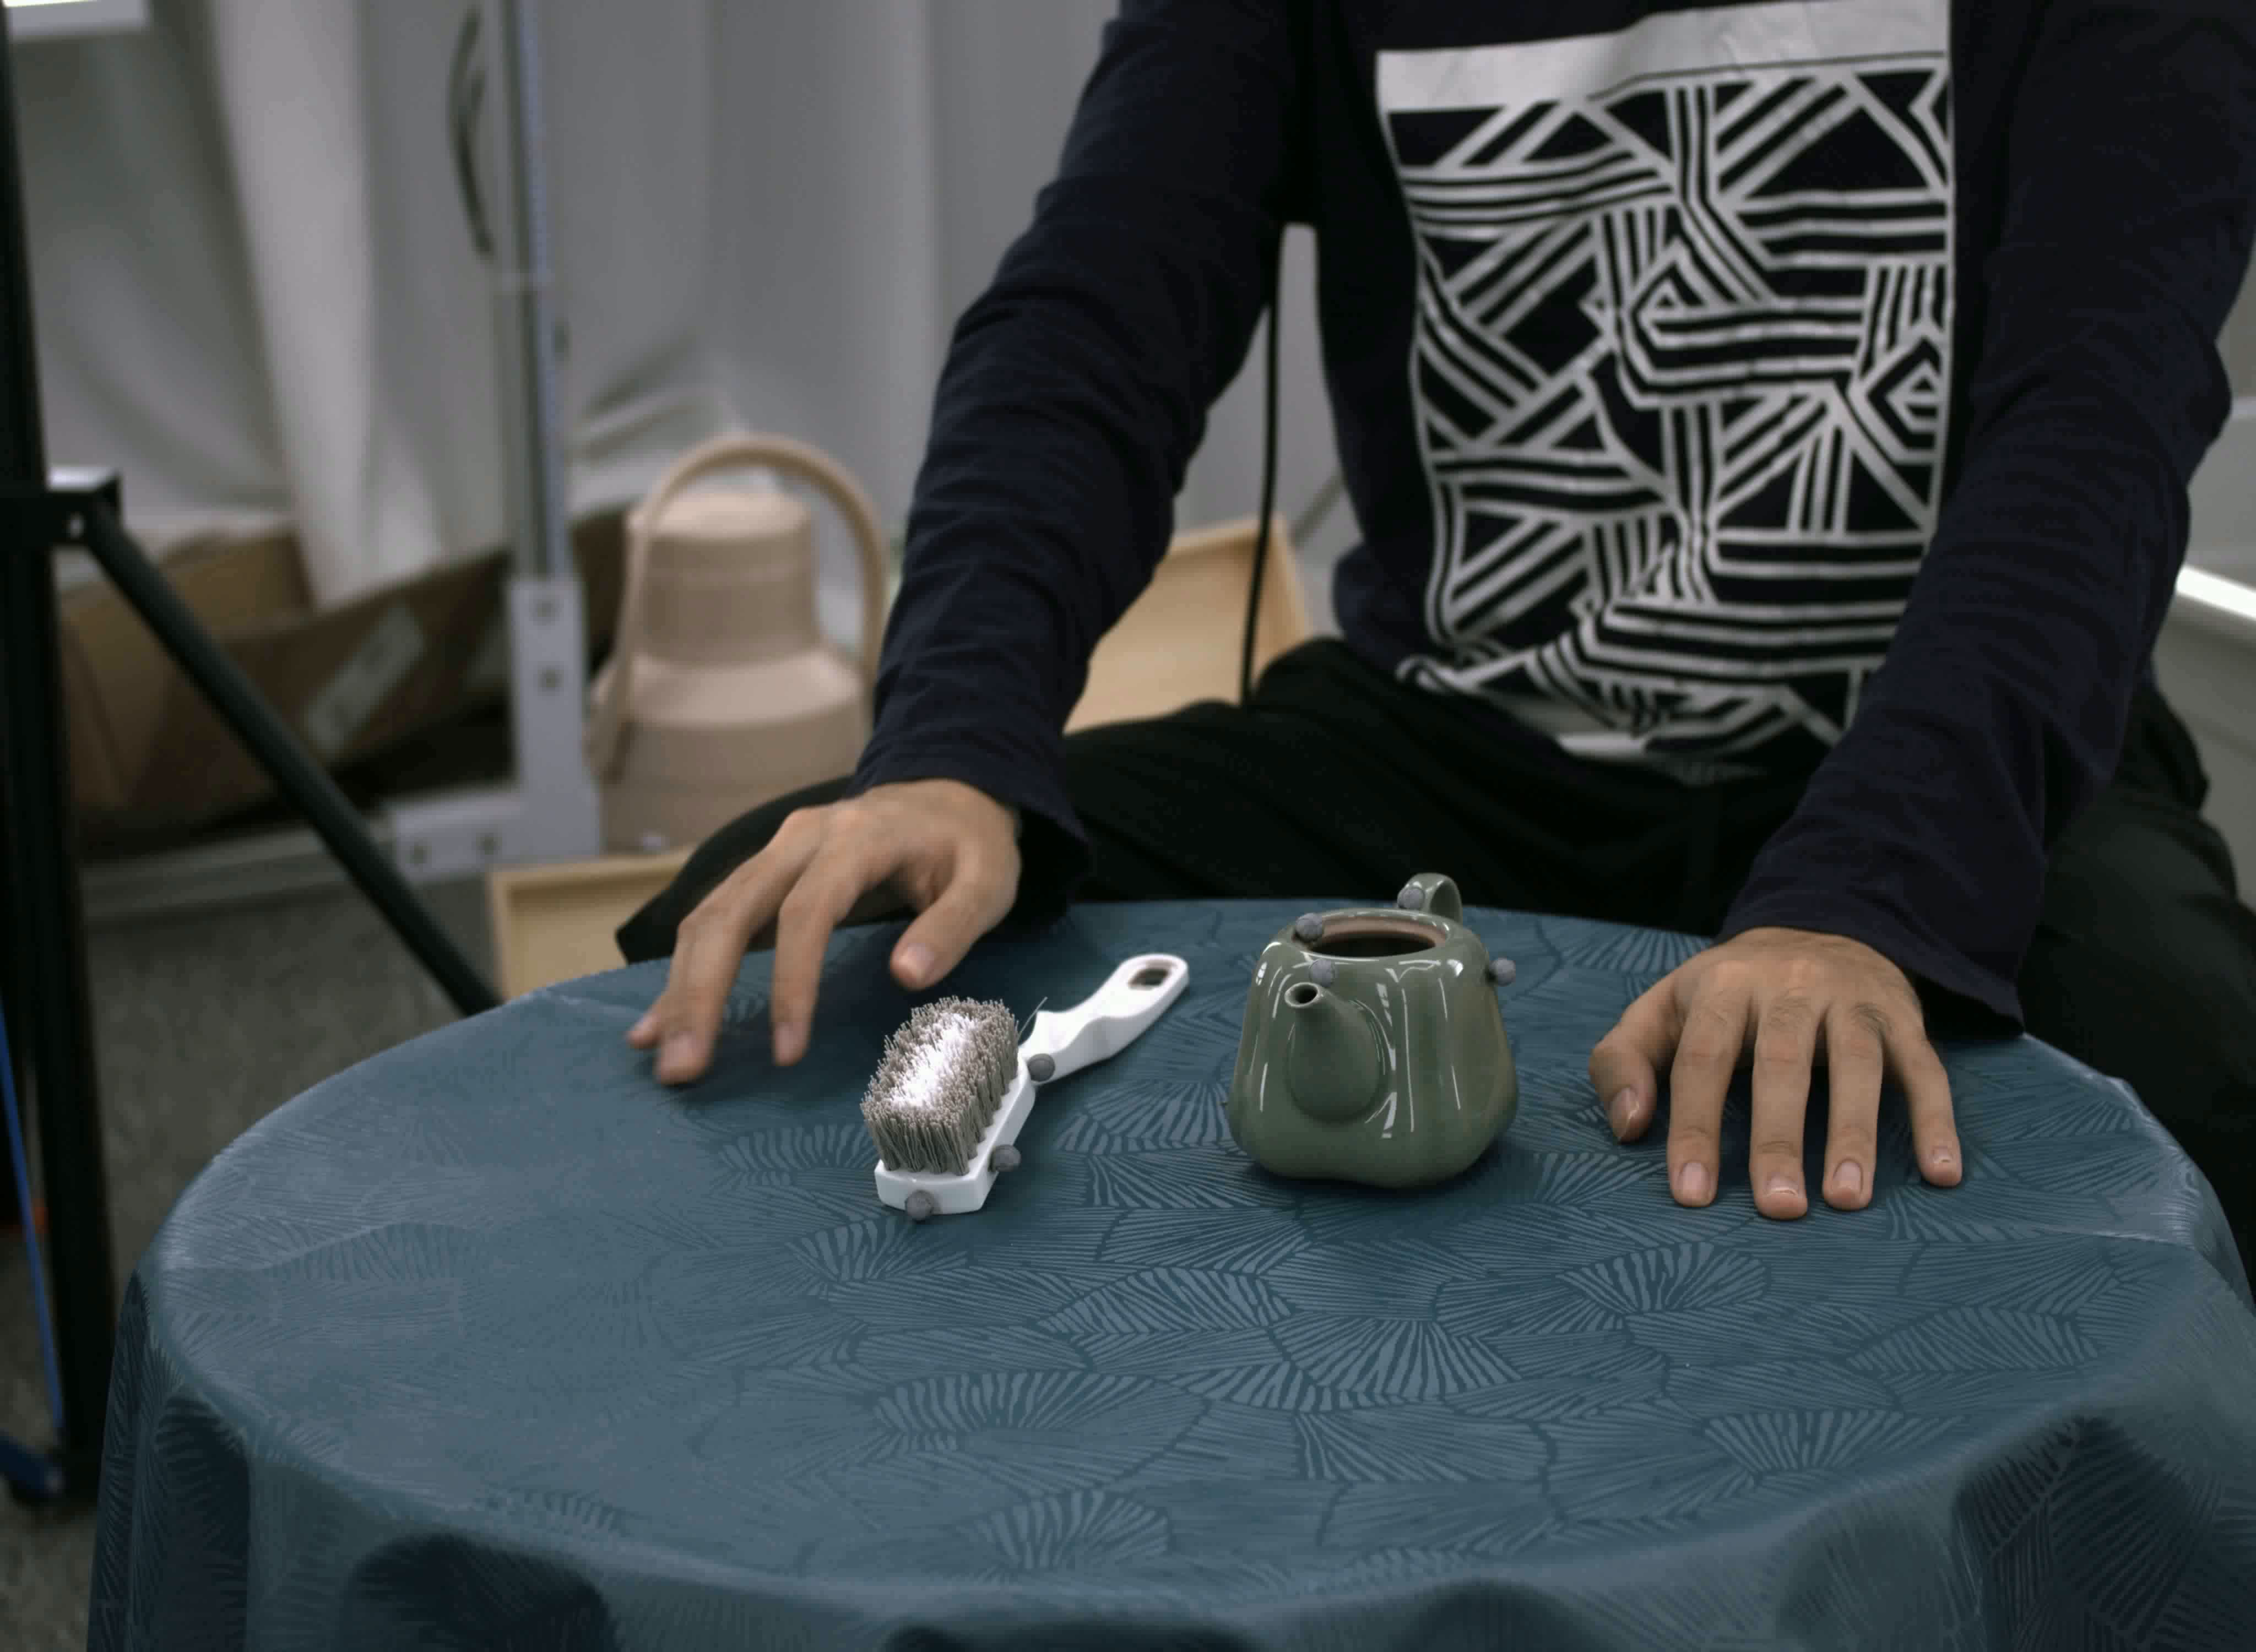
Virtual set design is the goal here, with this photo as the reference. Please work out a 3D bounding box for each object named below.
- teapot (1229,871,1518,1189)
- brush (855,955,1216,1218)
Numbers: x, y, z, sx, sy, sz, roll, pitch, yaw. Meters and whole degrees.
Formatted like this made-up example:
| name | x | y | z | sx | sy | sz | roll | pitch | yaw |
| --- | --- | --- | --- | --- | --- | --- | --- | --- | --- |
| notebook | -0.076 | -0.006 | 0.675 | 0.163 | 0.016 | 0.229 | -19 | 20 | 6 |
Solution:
| name | x | y | z | sx | sy | sz | roll | pitch | yaw |
| --- | --- | --- | --- | --- | --- | --- | --- | --- | --- |
| teapot | 0.073 | 0.063 | 1.573 | 0.081 | 0.075 | 0.131 | 4 | 16 | 21 |
| brush | -0.024 | 0.061 | 1.643 | 0.035 | 0.050 | 0.240 | -1 | 16 | 22 |
